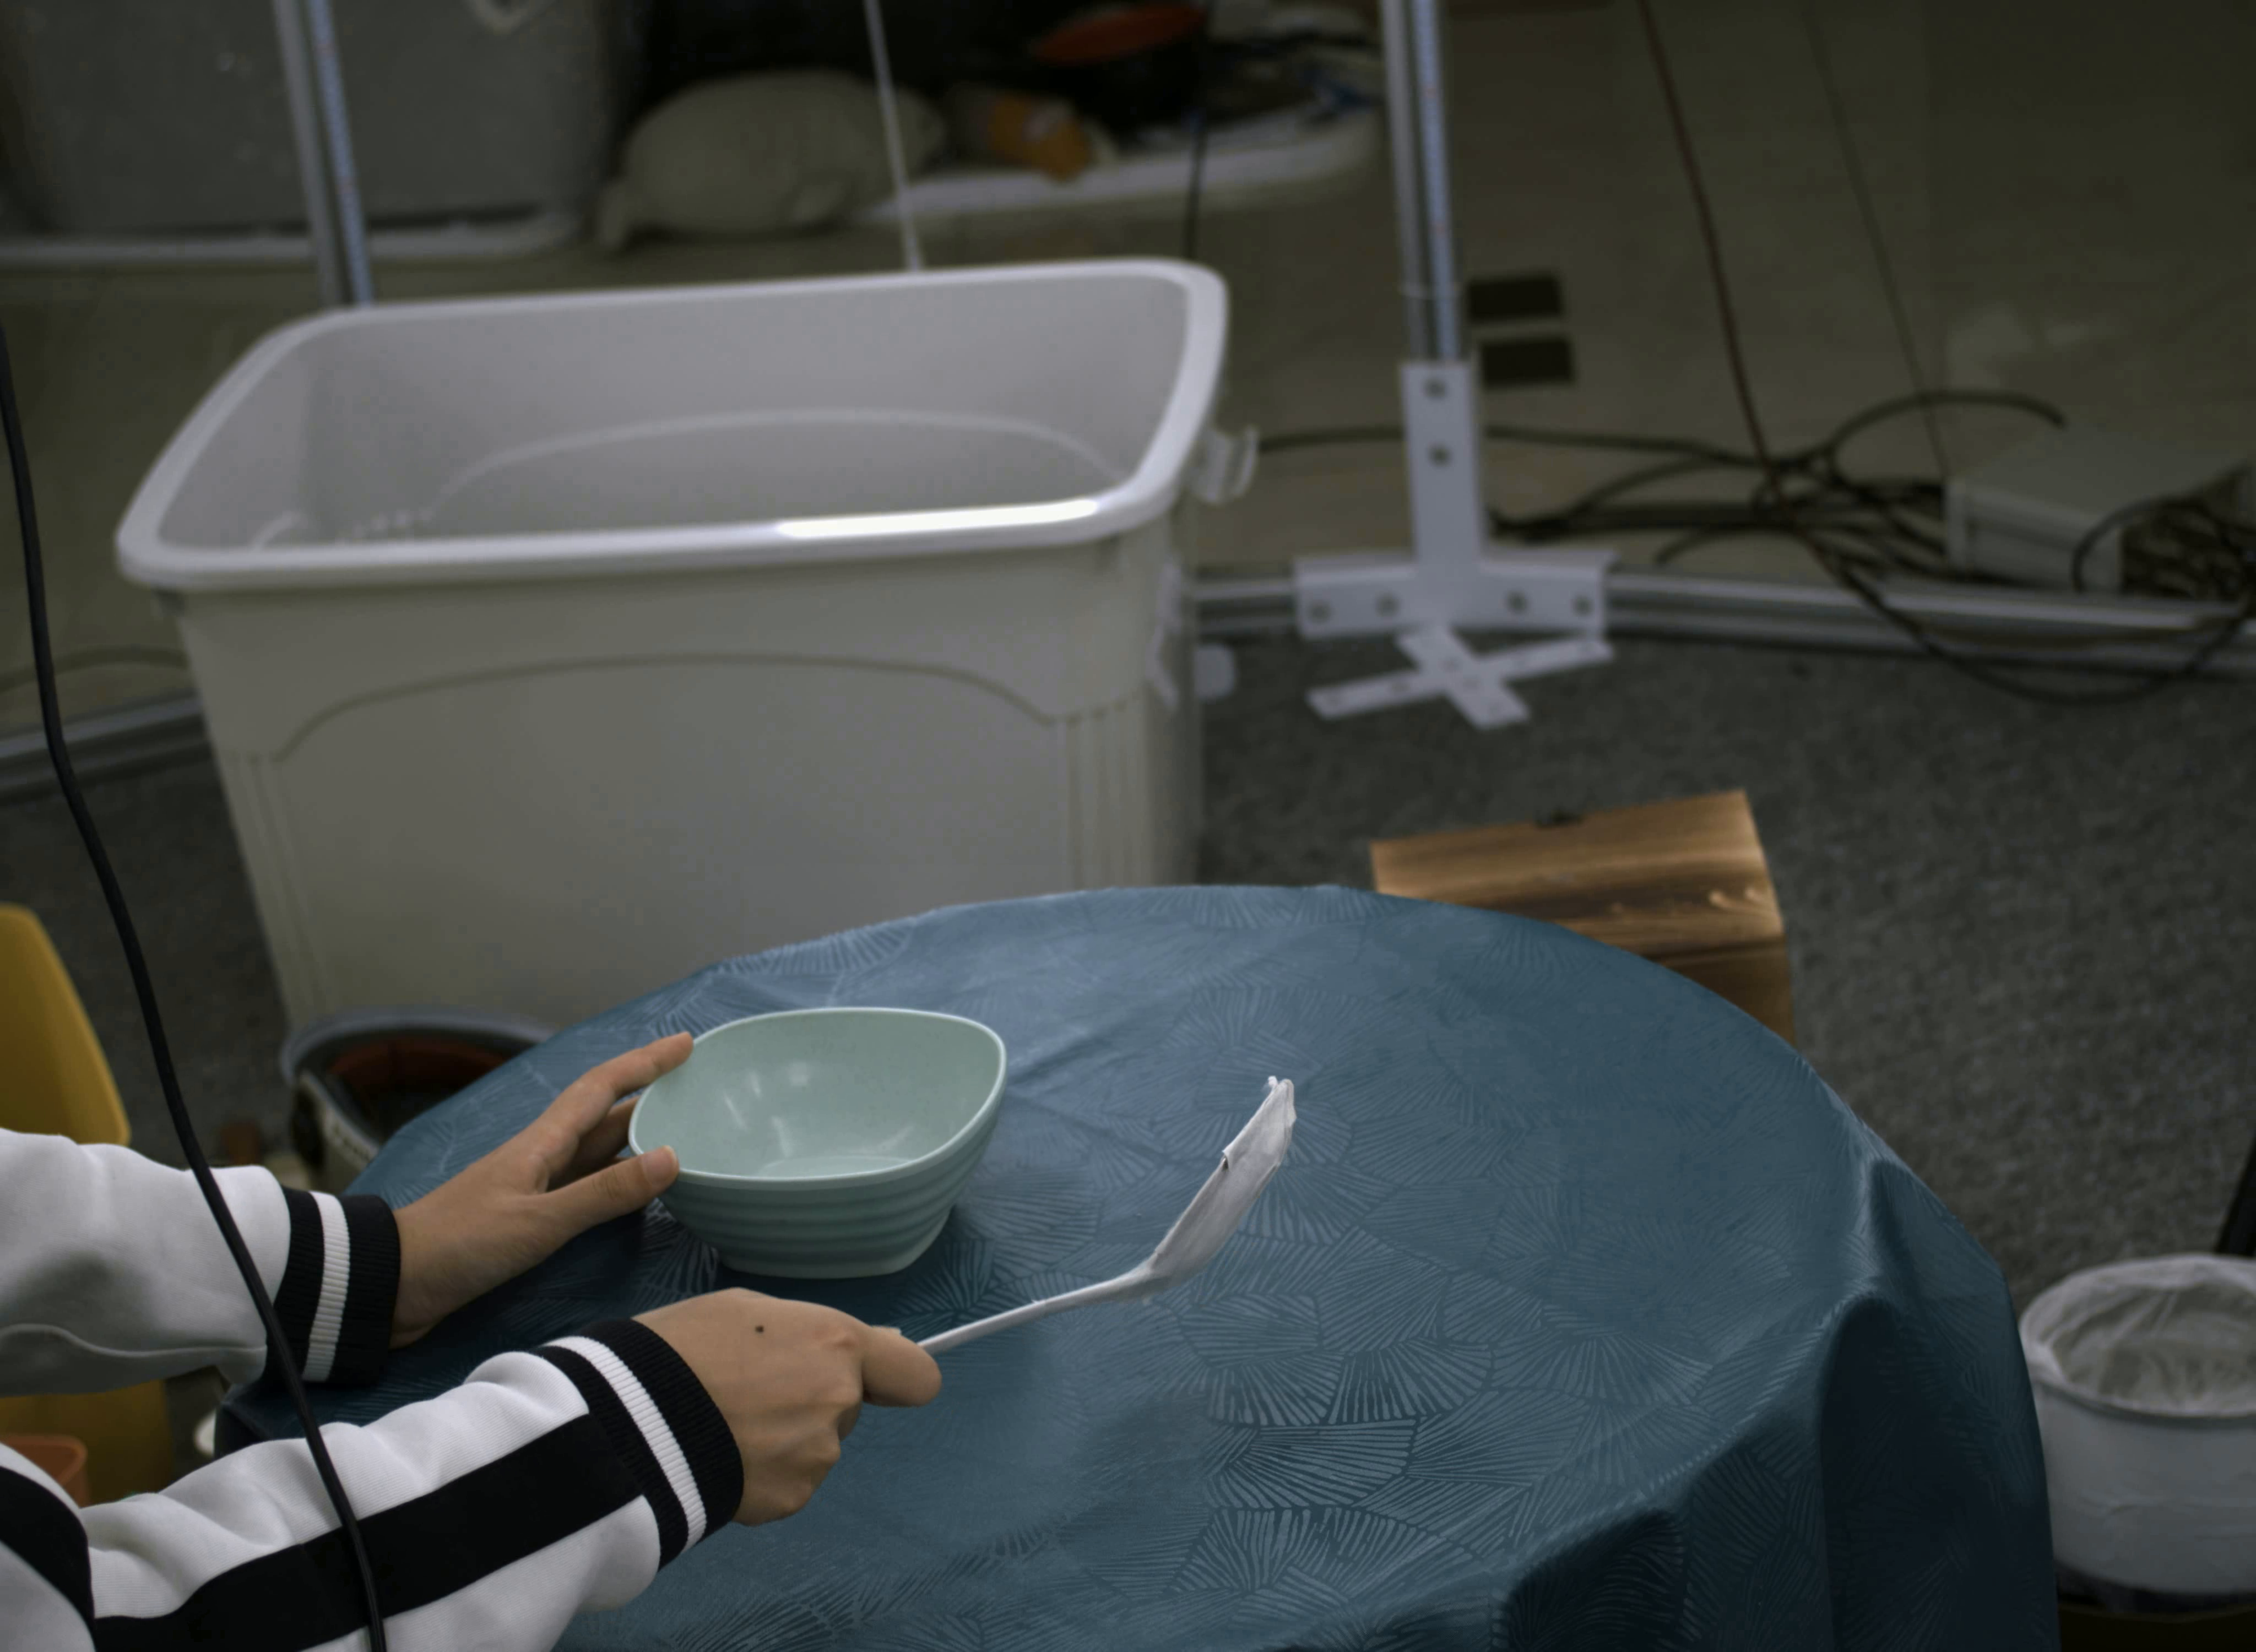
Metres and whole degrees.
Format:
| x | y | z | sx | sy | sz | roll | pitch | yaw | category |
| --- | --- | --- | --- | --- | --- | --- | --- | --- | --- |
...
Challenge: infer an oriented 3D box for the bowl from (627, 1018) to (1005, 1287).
| x | y | z | sx | sy | sz | roll | pitch | yaw | category |
| --- | --- | --- | --- | --- | --- | --- | --- | --- | --- |
| -0.114 | 0.128 | 2.137 | 0.151 | 0.059 | 0.149 | -5 | 25 | 3 | bowl |

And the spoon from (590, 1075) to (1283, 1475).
| x | y | z | sx | sy | sz | roll | pitch | yaw | category |
| --- | --- | --- | --- | --- | --- | --- | --- | --- | --- |
| -0.063 | 0.155 | 1.926 | 0.276 | 0.102 | 0.058 | -17 | 63 | -20 | spoon |
